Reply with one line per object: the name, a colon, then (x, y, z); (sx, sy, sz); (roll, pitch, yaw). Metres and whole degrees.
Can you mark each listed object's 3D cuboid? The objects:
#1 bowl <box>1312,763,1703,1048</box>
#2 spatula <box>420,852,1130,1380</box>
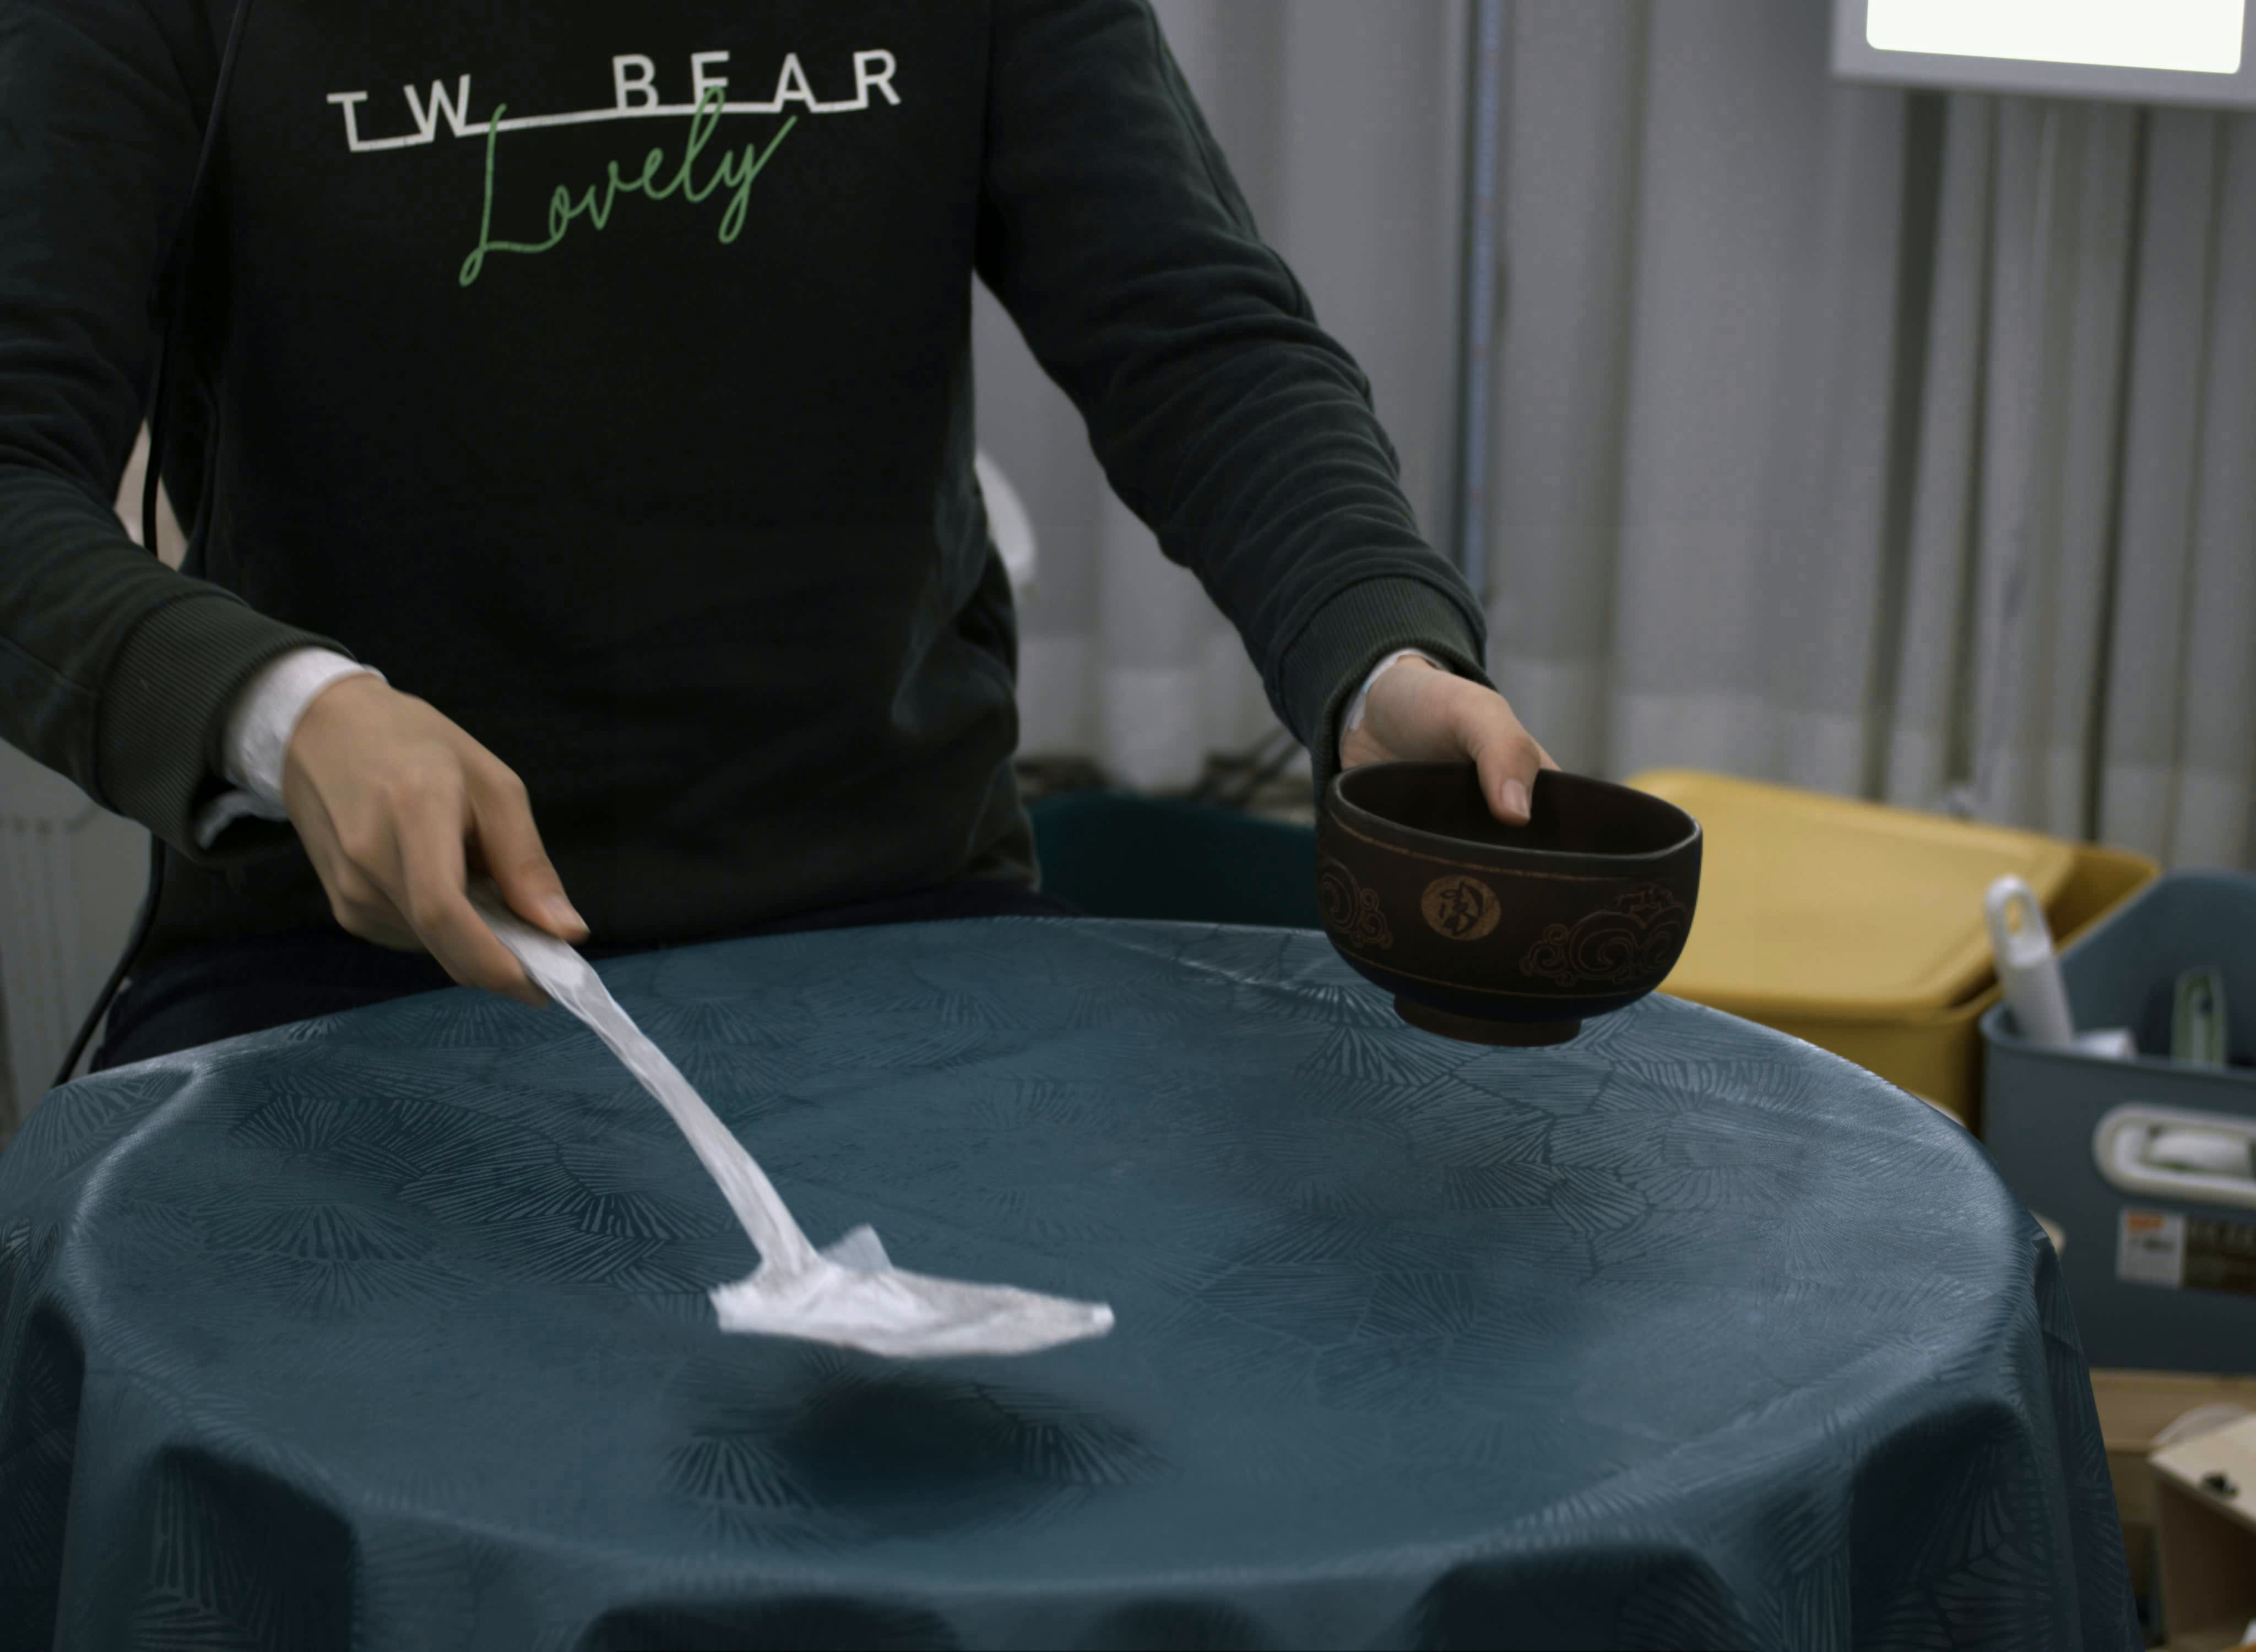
bowl: (0.113, 0.027, 1.604); (0.118, 0.070, 0.117); (7, 12, -1)
spatula: (-0.126, 0.075, 1.520); (0.099, 0.045, 0.360); (-3, 30, -34)
